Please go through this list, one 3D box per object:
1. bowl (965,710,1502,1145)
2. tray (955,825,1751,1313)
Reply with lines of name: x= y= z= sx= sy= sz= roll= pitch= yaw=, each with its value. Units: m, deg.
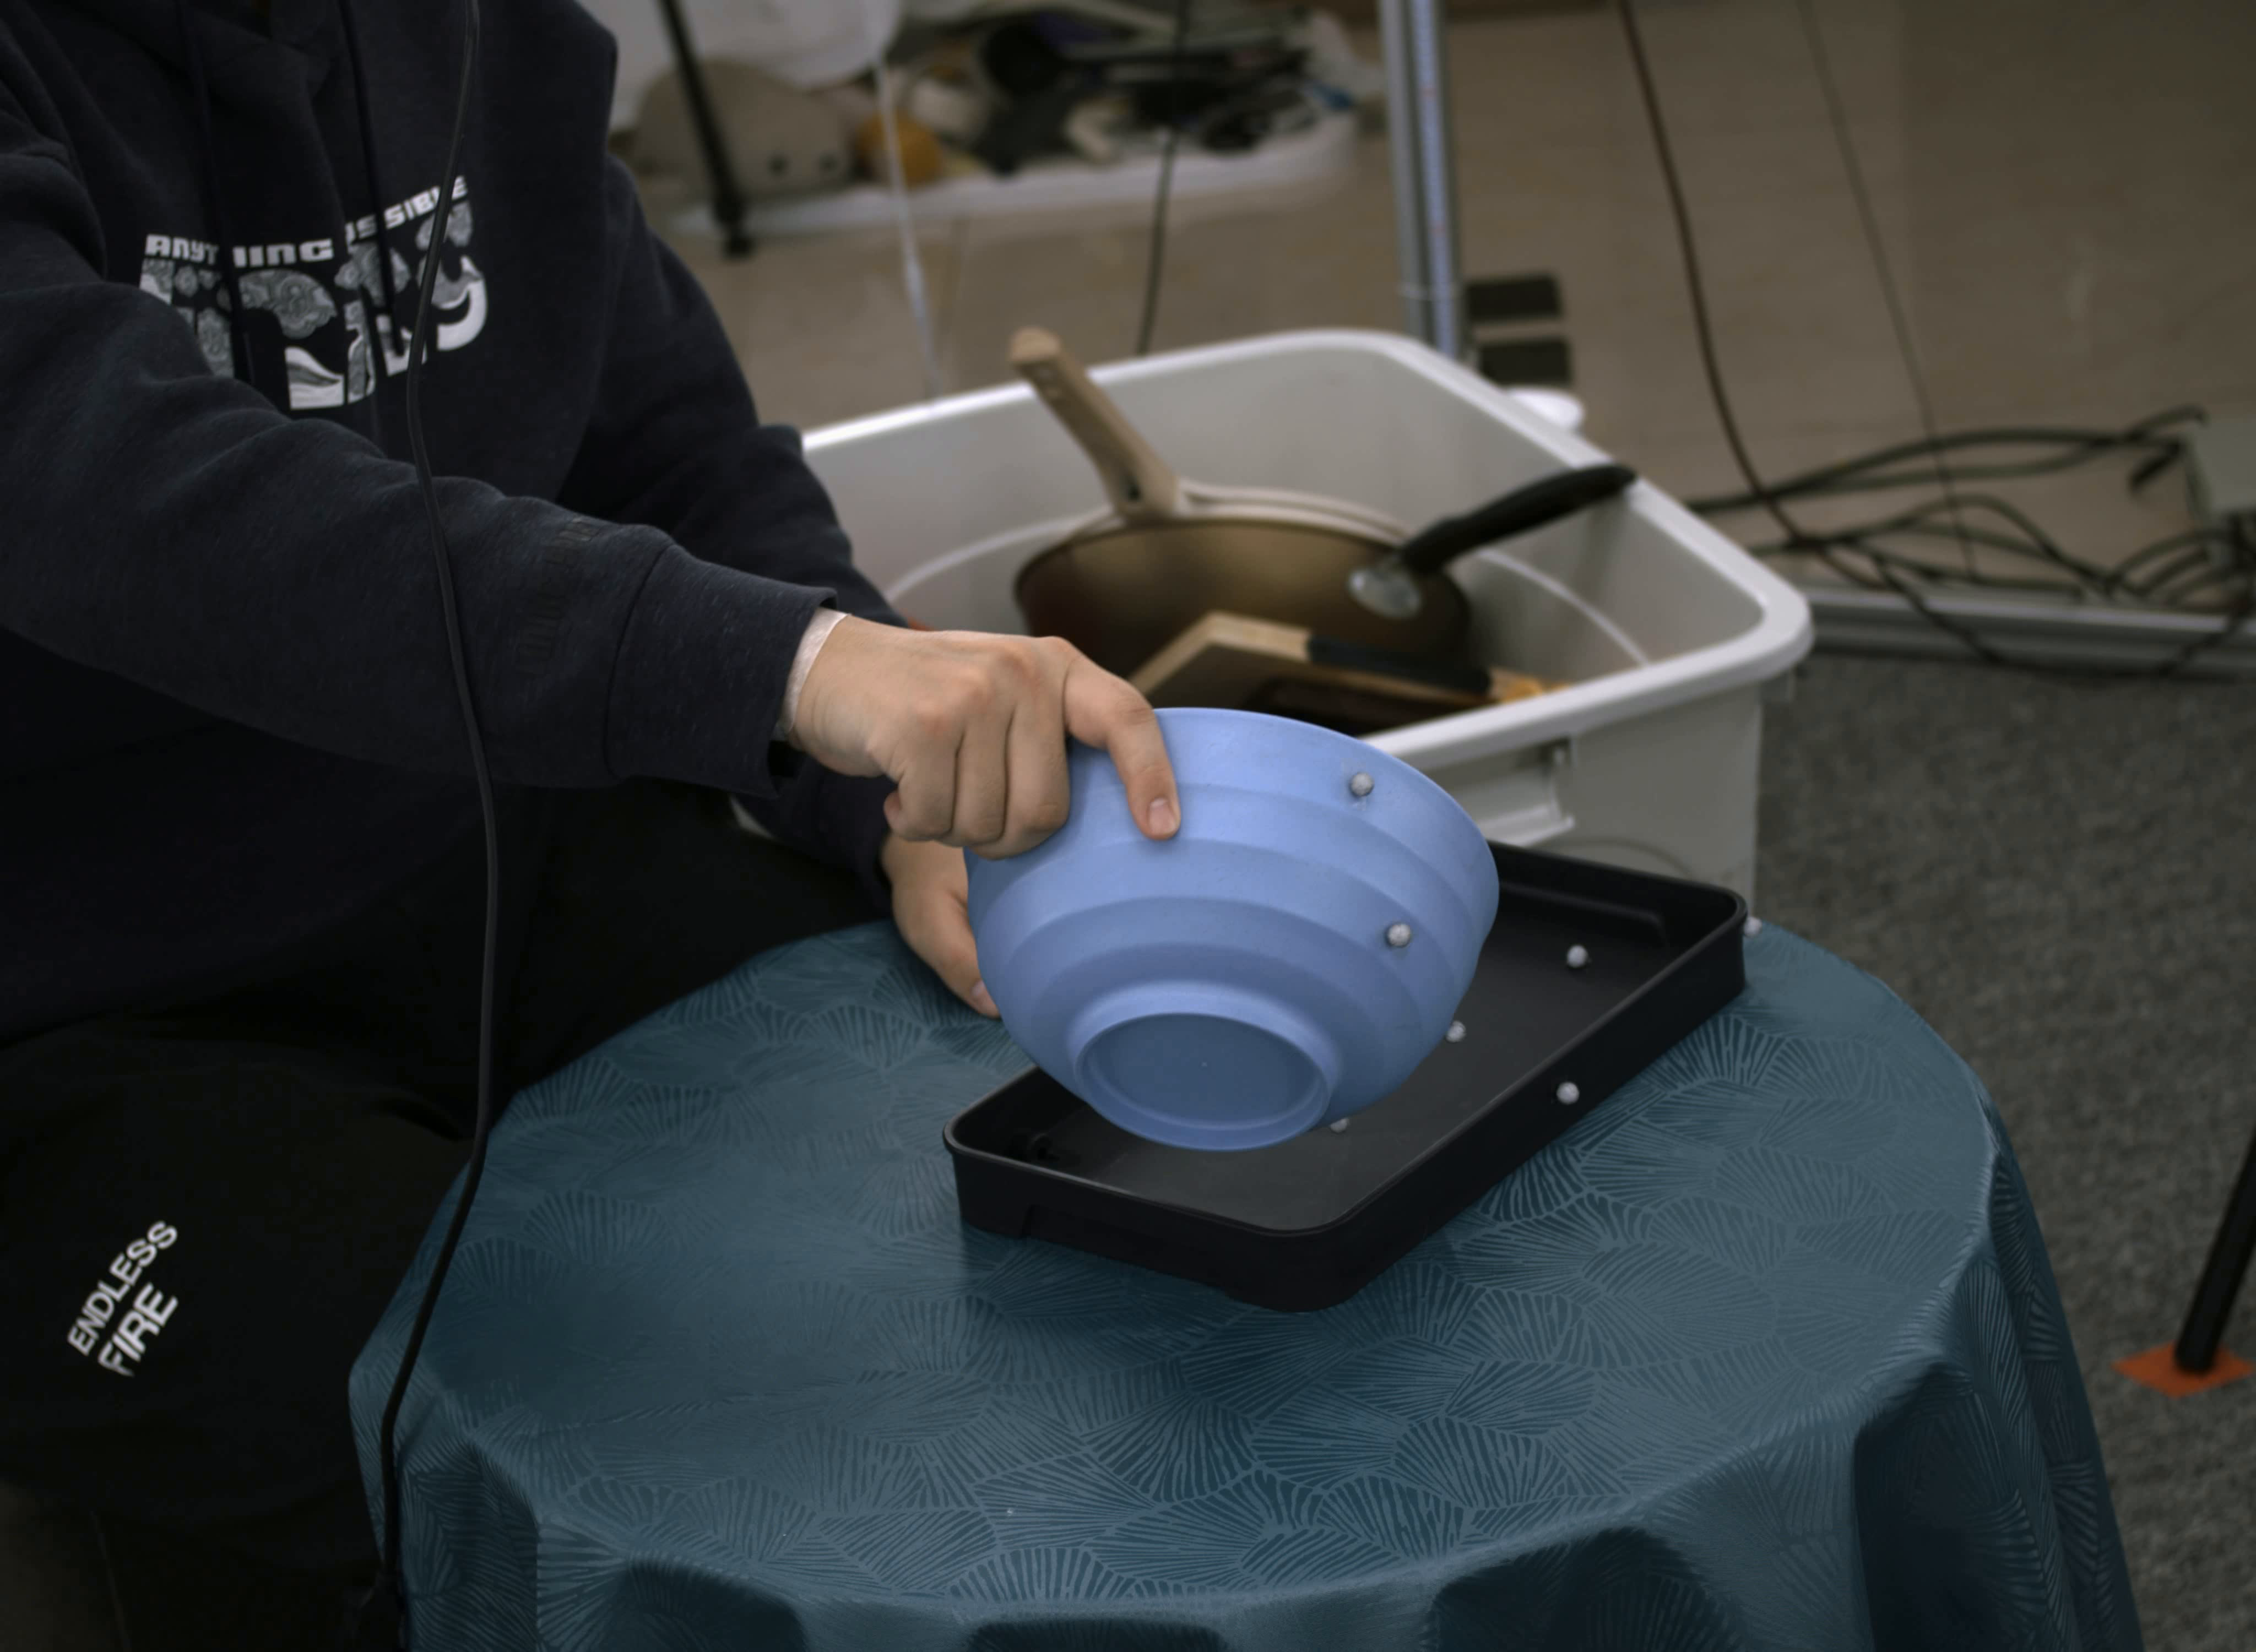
bowl: x=0.031 y=0.051 z=2.032 sx=0.196 sy=0.200 sz=0.094 roll=1 pitch=58 yaw=15
tray: x=0.093 y=0.087 z=2.199 sx=0.183 sy=0.037 sz=0.314 roll=11 pitch=31 yaw=35
